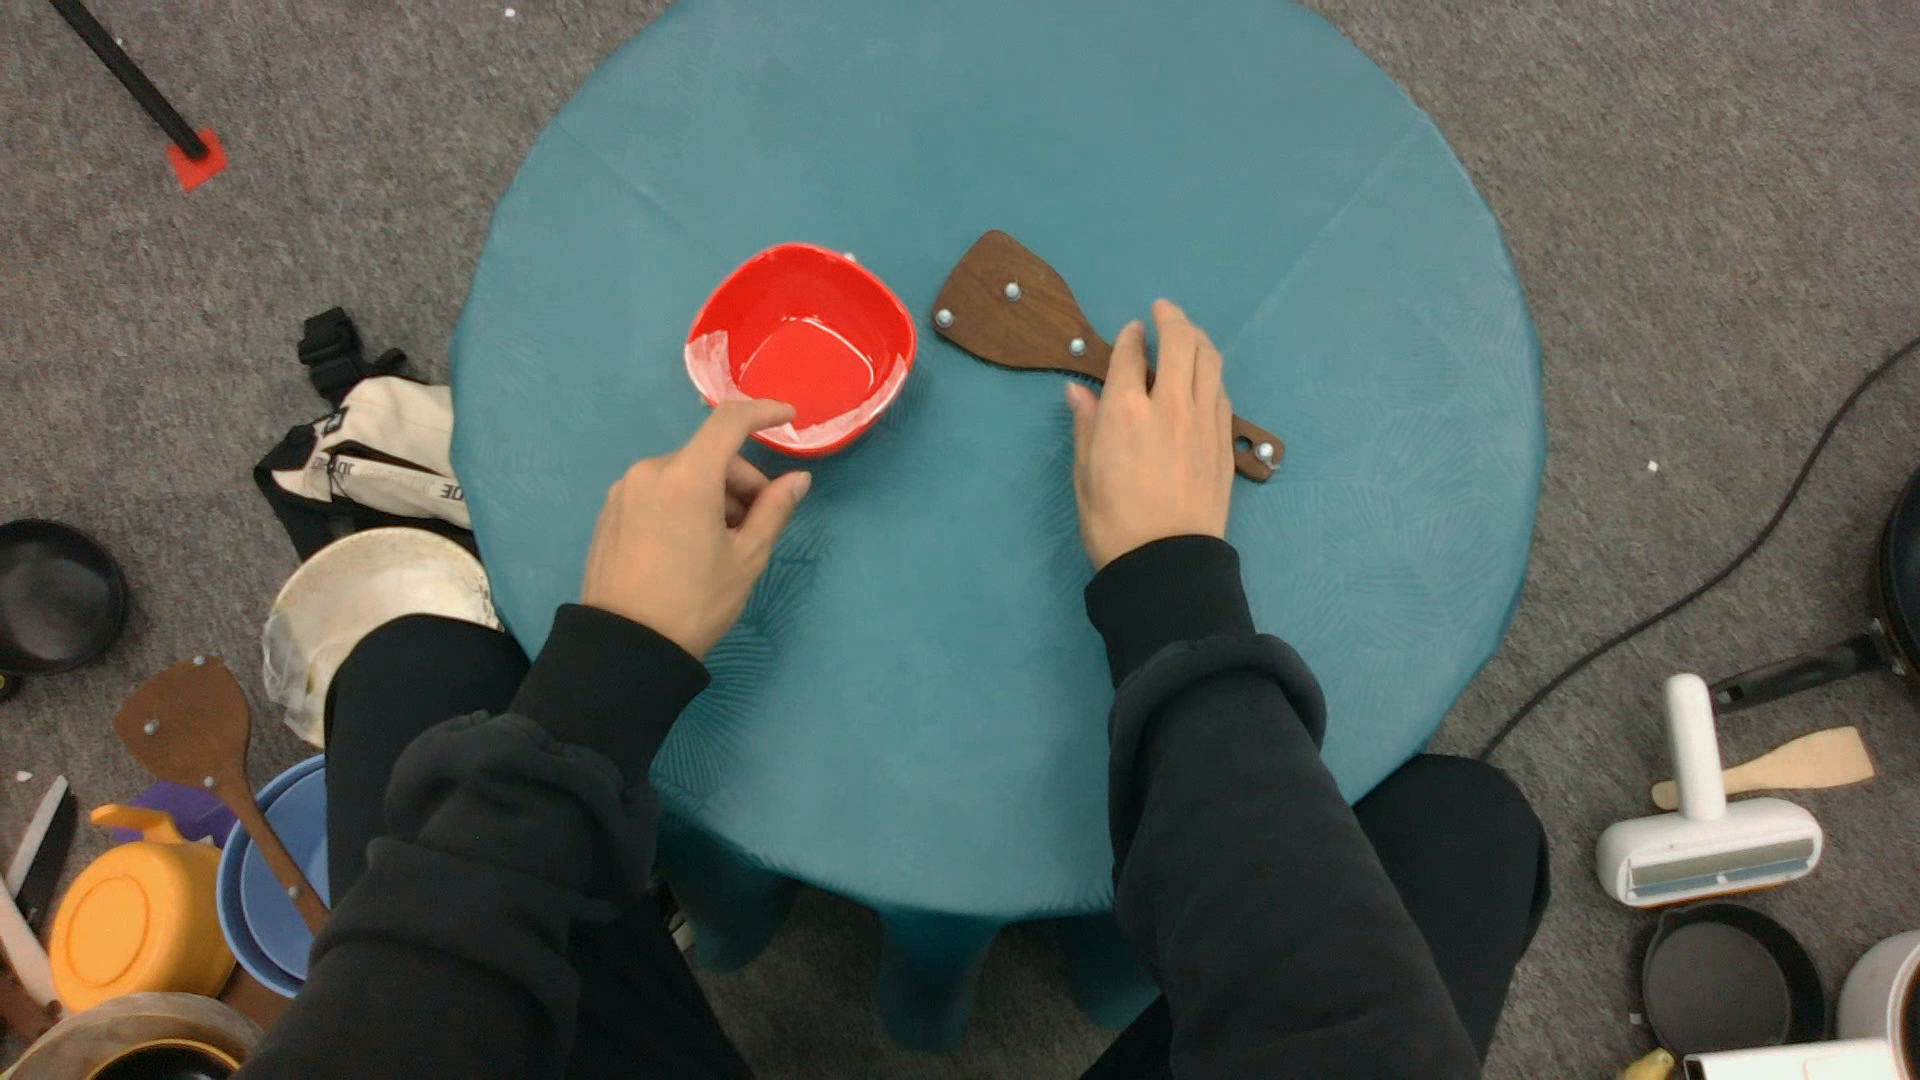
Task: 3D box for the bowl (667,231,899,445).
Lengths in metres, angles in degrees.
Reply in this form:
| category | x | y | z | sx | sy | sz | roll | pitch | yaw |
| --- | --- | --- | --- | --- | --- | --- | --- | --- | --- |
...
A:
| category | x | y | z | sx | sy | sz | roll | pitch | yaw |
| --- | --- | --- | --- | --- | --- | --- | --- | --- | --- |
| bowl | -0.092 | -0.099 | 0.730 | 0.119 | 0.051 | 0.119 | 1 | 71 | -3 |

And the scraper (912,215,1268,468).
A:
| category | x | y | z | sx | sy | sz | roll | pitch | yaw |
| --- | --- | --- | --- | --- | --- | --- | --- | --- | --- |
| scraper | 0.075 | -0.102 | 0.760 | 0.211 | 0.011 | 0.076 | 32 | 75 | 7 |
